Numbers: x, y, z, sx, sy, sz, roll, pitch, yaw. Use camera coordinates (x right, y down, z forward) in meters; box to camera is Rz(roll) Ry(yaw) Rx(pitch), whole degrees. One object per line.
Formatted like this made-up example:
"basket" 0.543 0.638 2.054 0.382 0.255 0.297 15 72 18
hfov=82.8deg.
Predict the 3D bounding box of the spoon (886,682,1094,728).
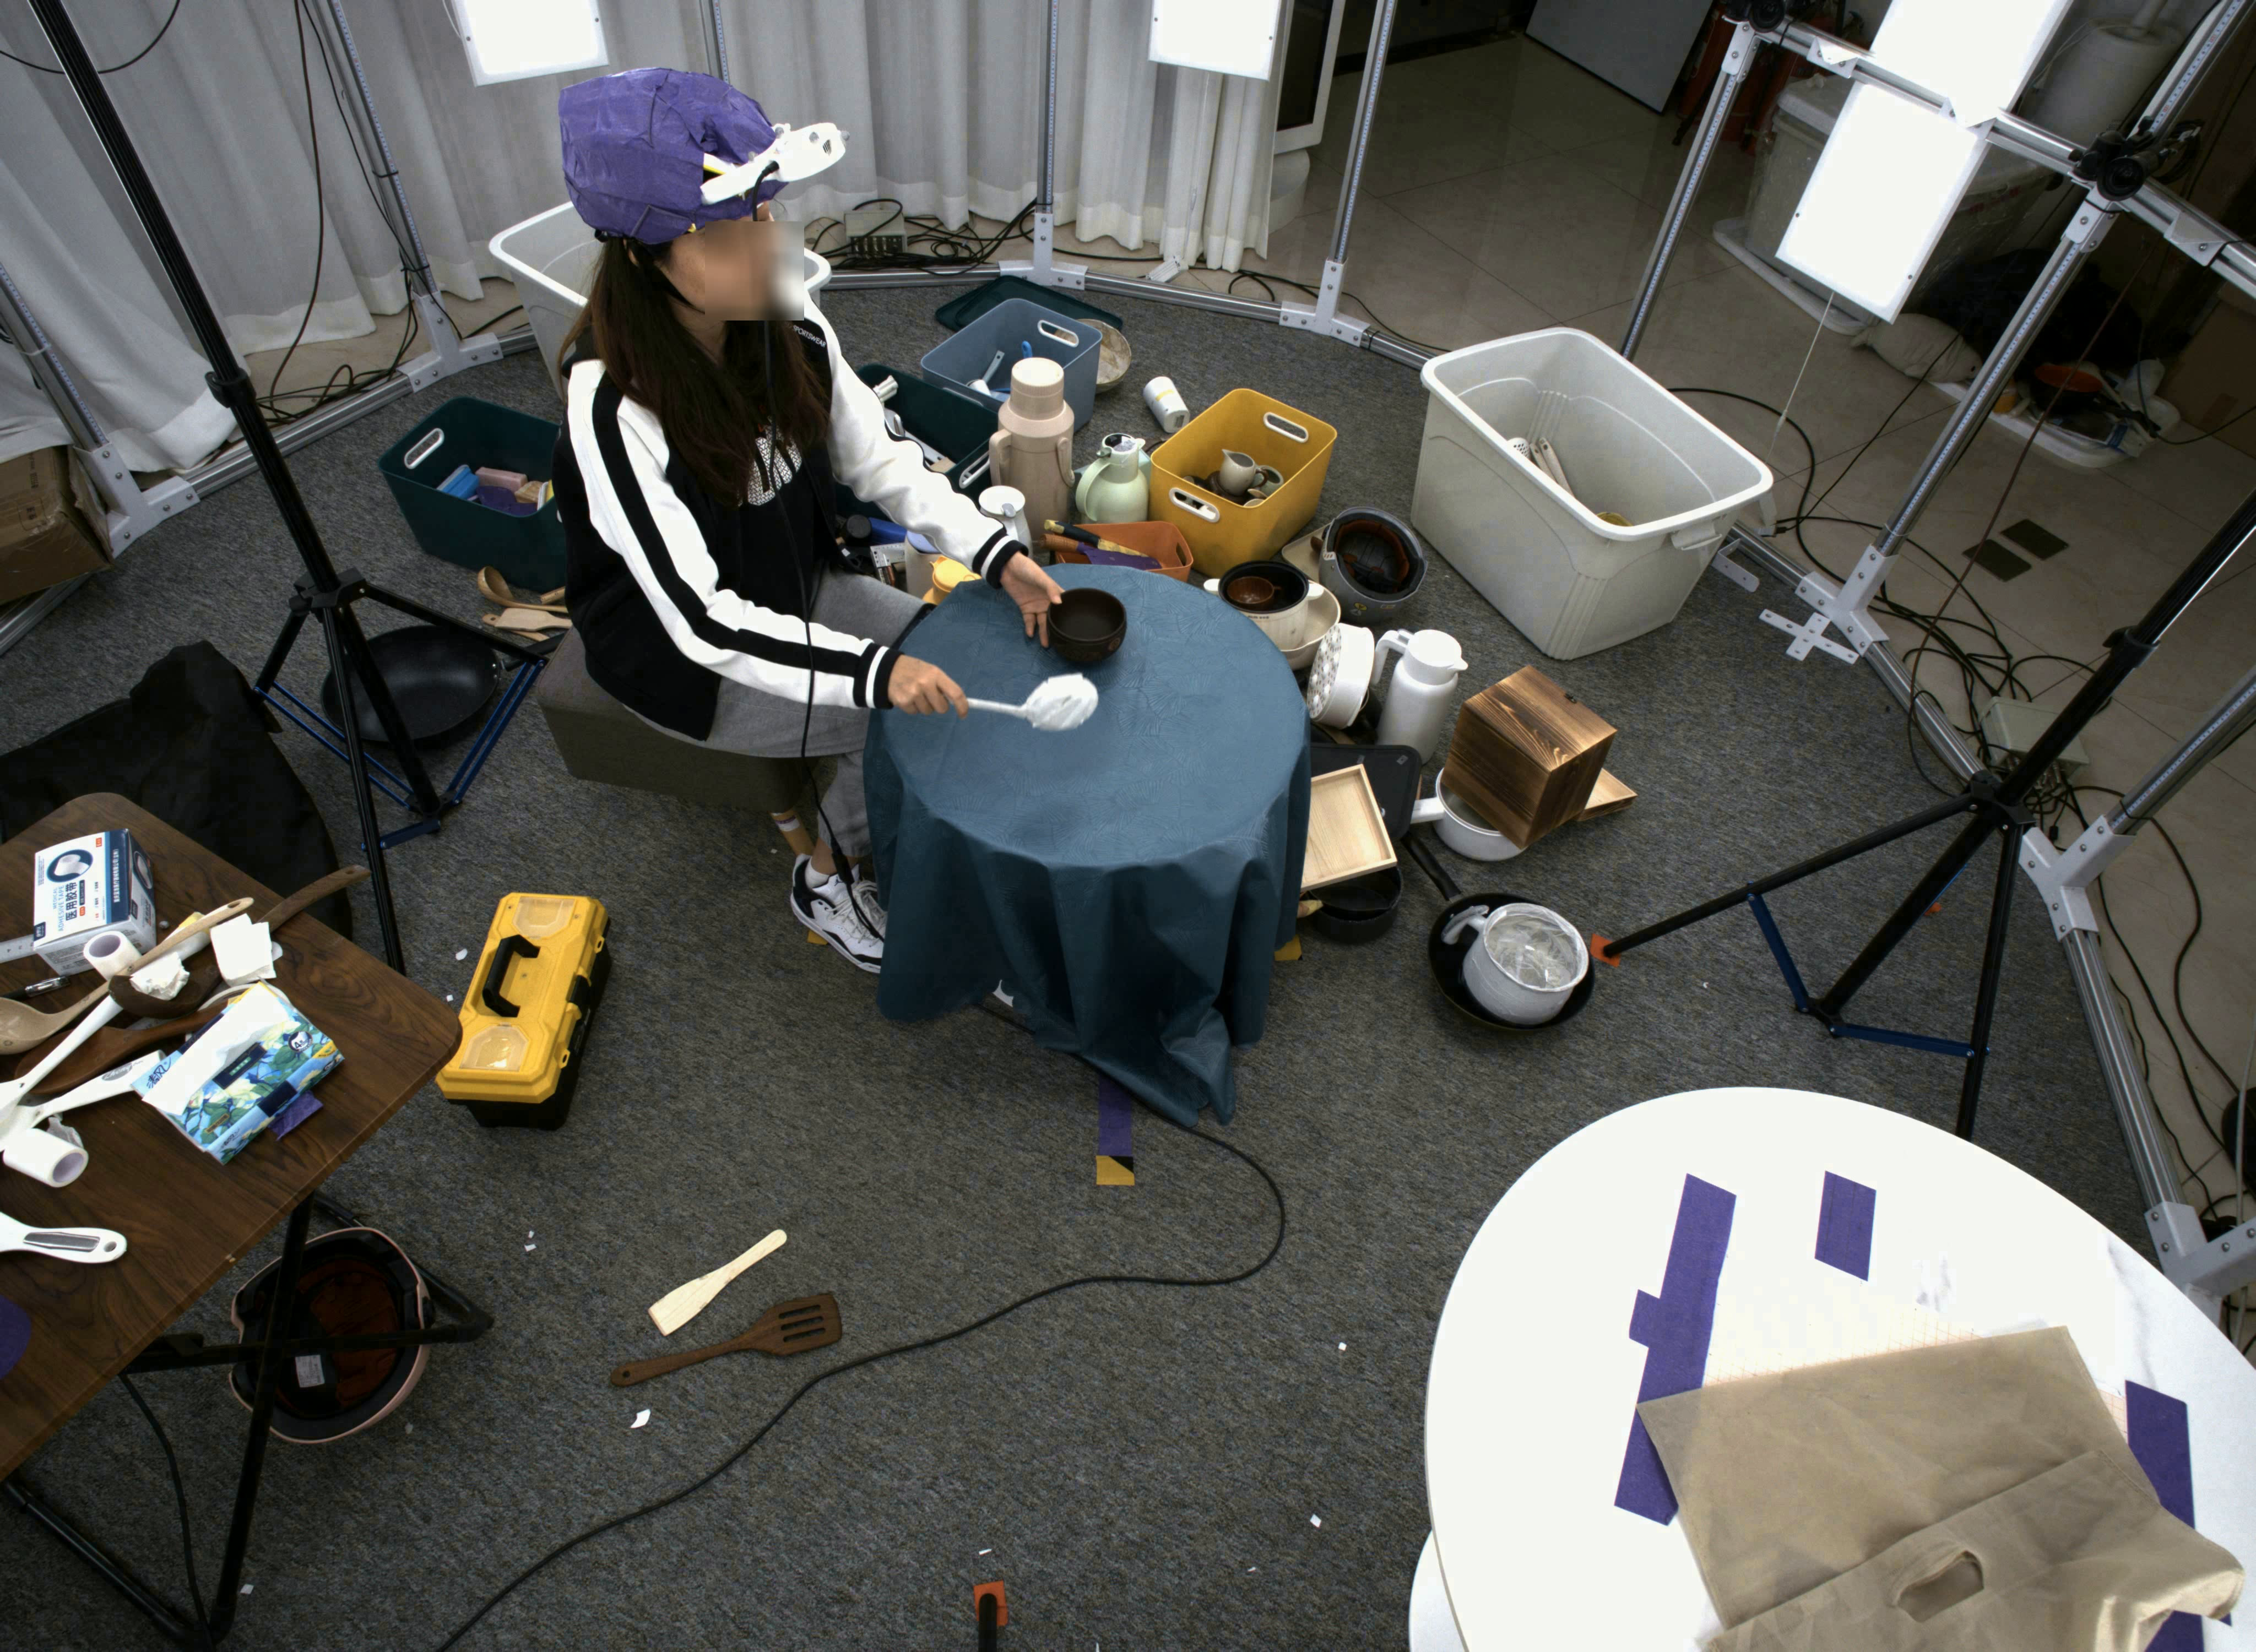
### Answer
"spoon" -0.181 -0.176 1.679 0.279 0.099 0.060 14 70 16

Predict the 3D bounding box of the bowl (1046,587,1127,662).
"bowl" -0.060 -0.284 1.864 0.118 0.068 0.121 2 49 -2
